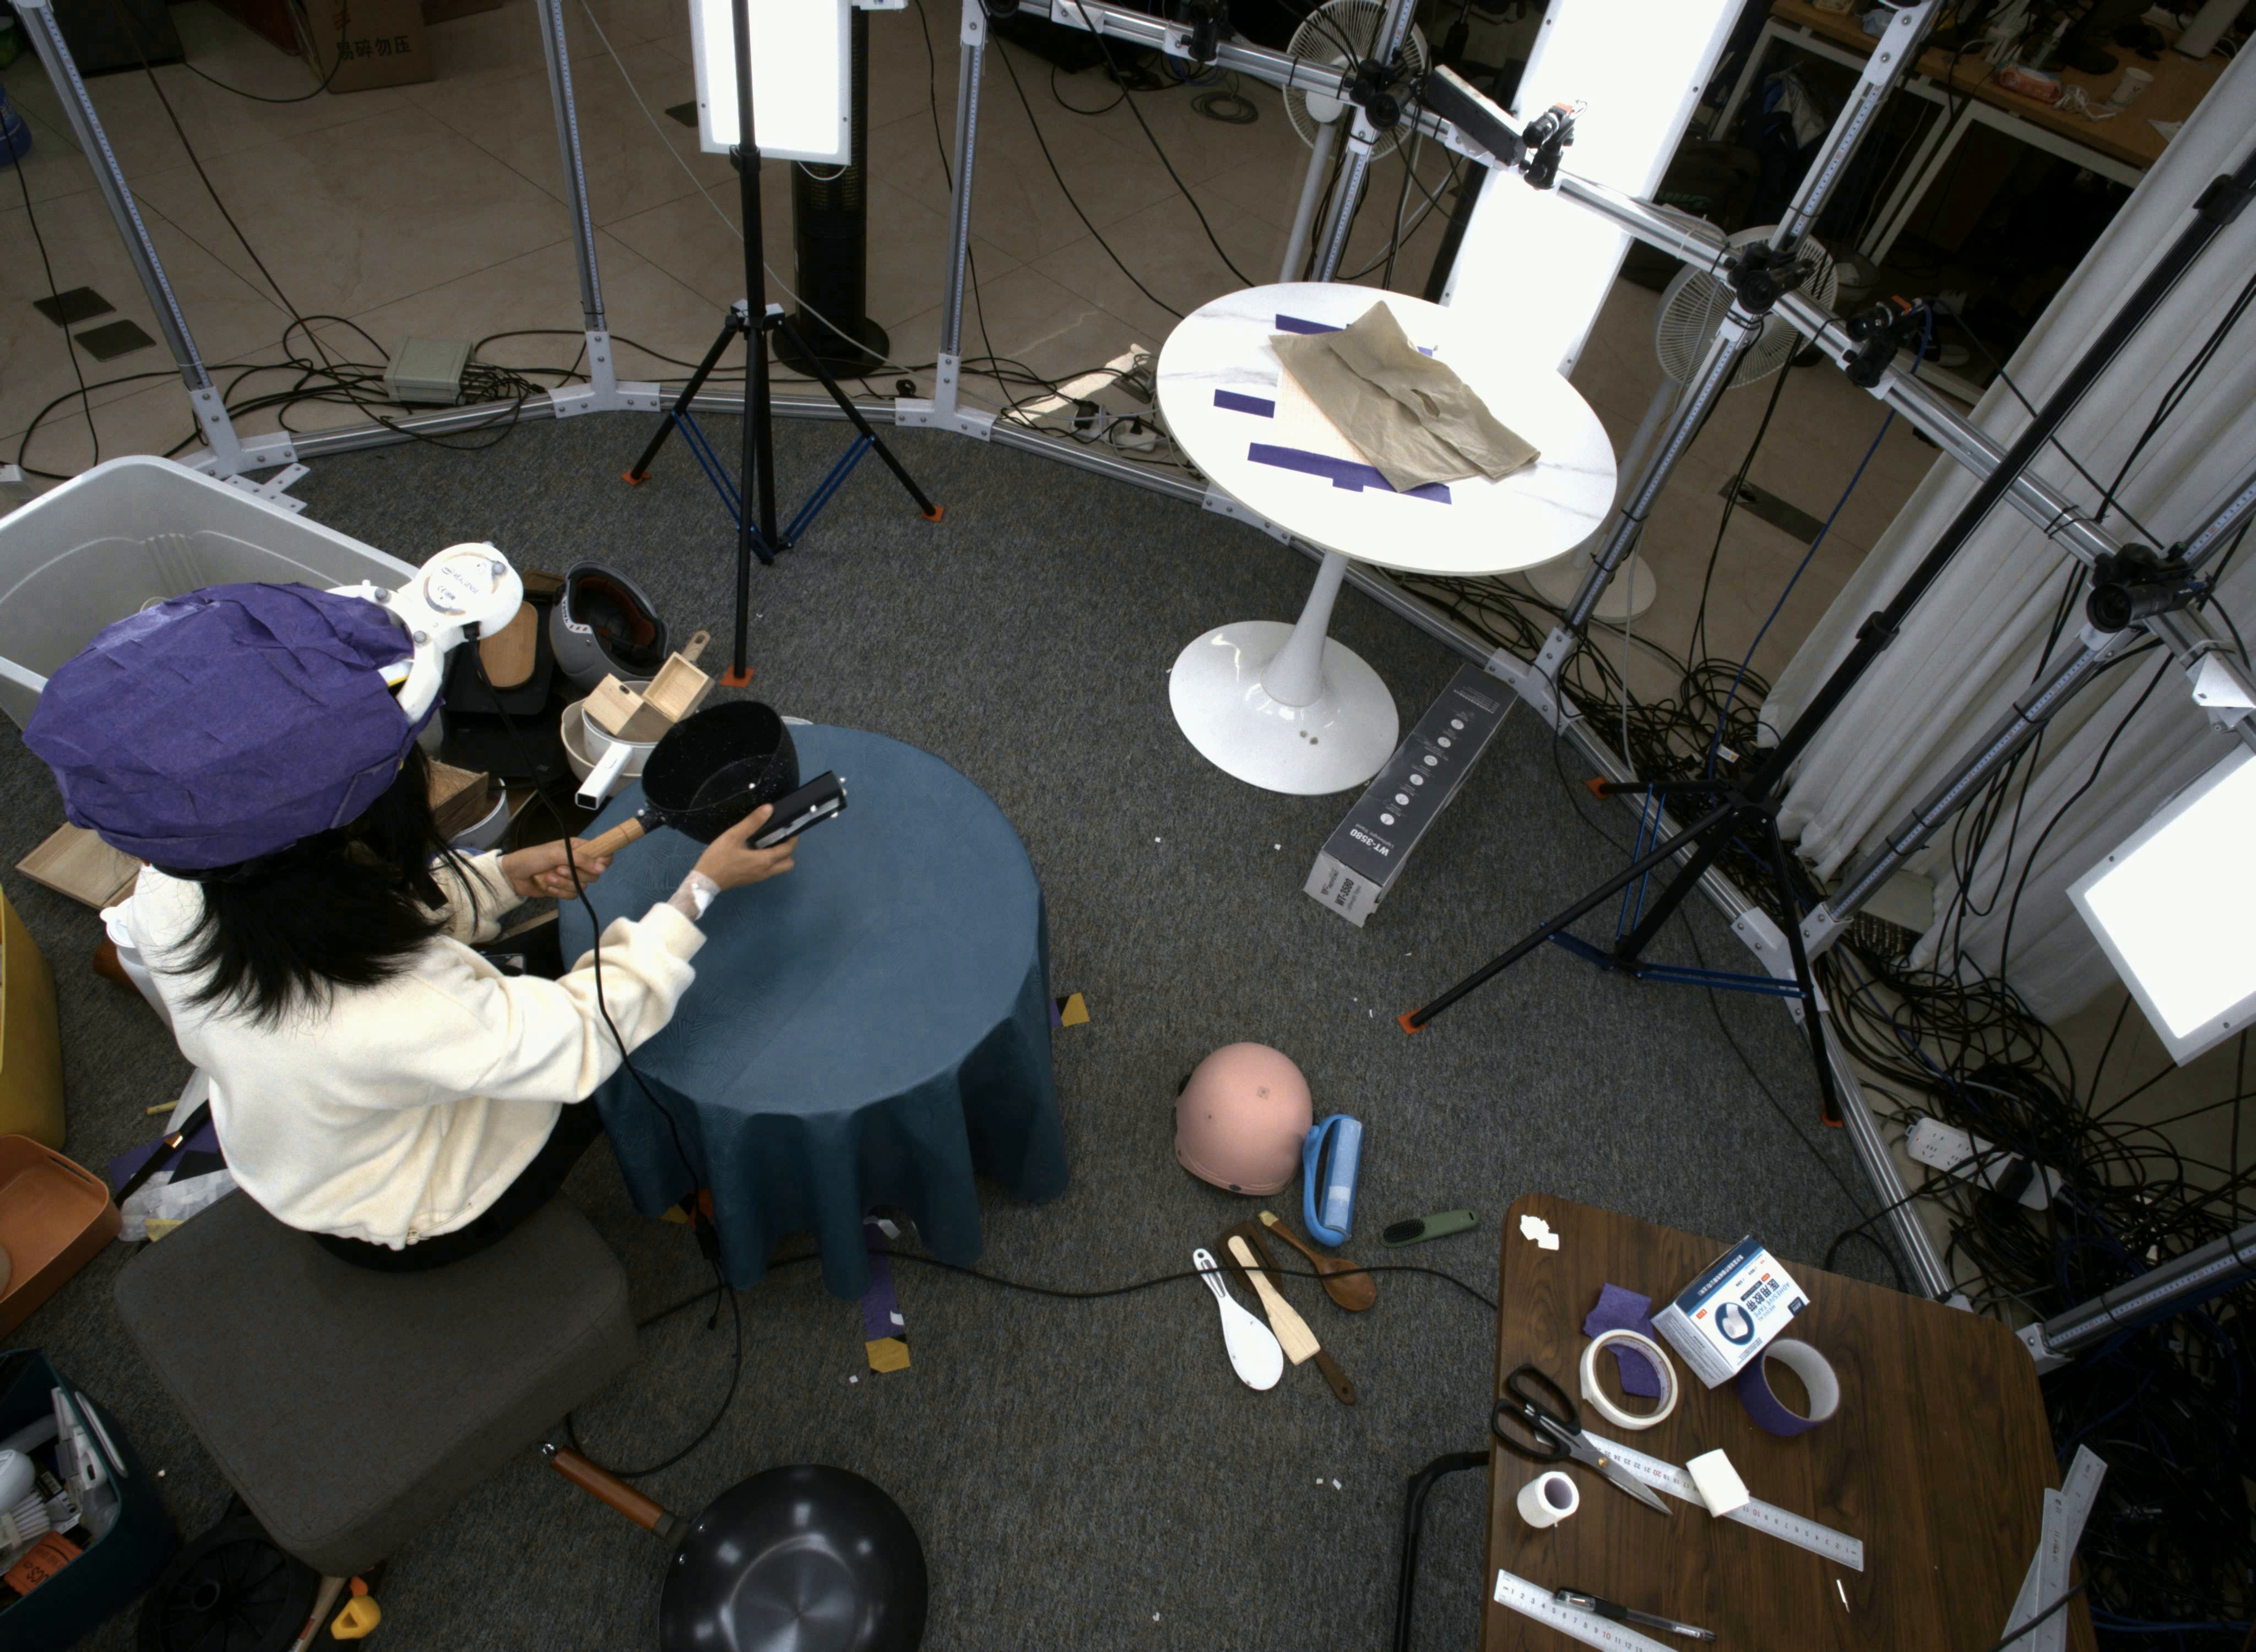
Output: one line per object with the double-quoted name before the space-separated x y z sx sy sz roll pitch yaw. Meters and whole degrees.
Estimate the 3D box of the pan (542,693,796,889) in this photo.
"pan" -0.540 -0.019 1.510 0.200 0.112 0.343 28 62 35

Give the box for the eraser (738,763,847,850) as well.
"eraser" -0.392 -0.024 1.517 0.125 0.055 0.030 -31 64 -21
